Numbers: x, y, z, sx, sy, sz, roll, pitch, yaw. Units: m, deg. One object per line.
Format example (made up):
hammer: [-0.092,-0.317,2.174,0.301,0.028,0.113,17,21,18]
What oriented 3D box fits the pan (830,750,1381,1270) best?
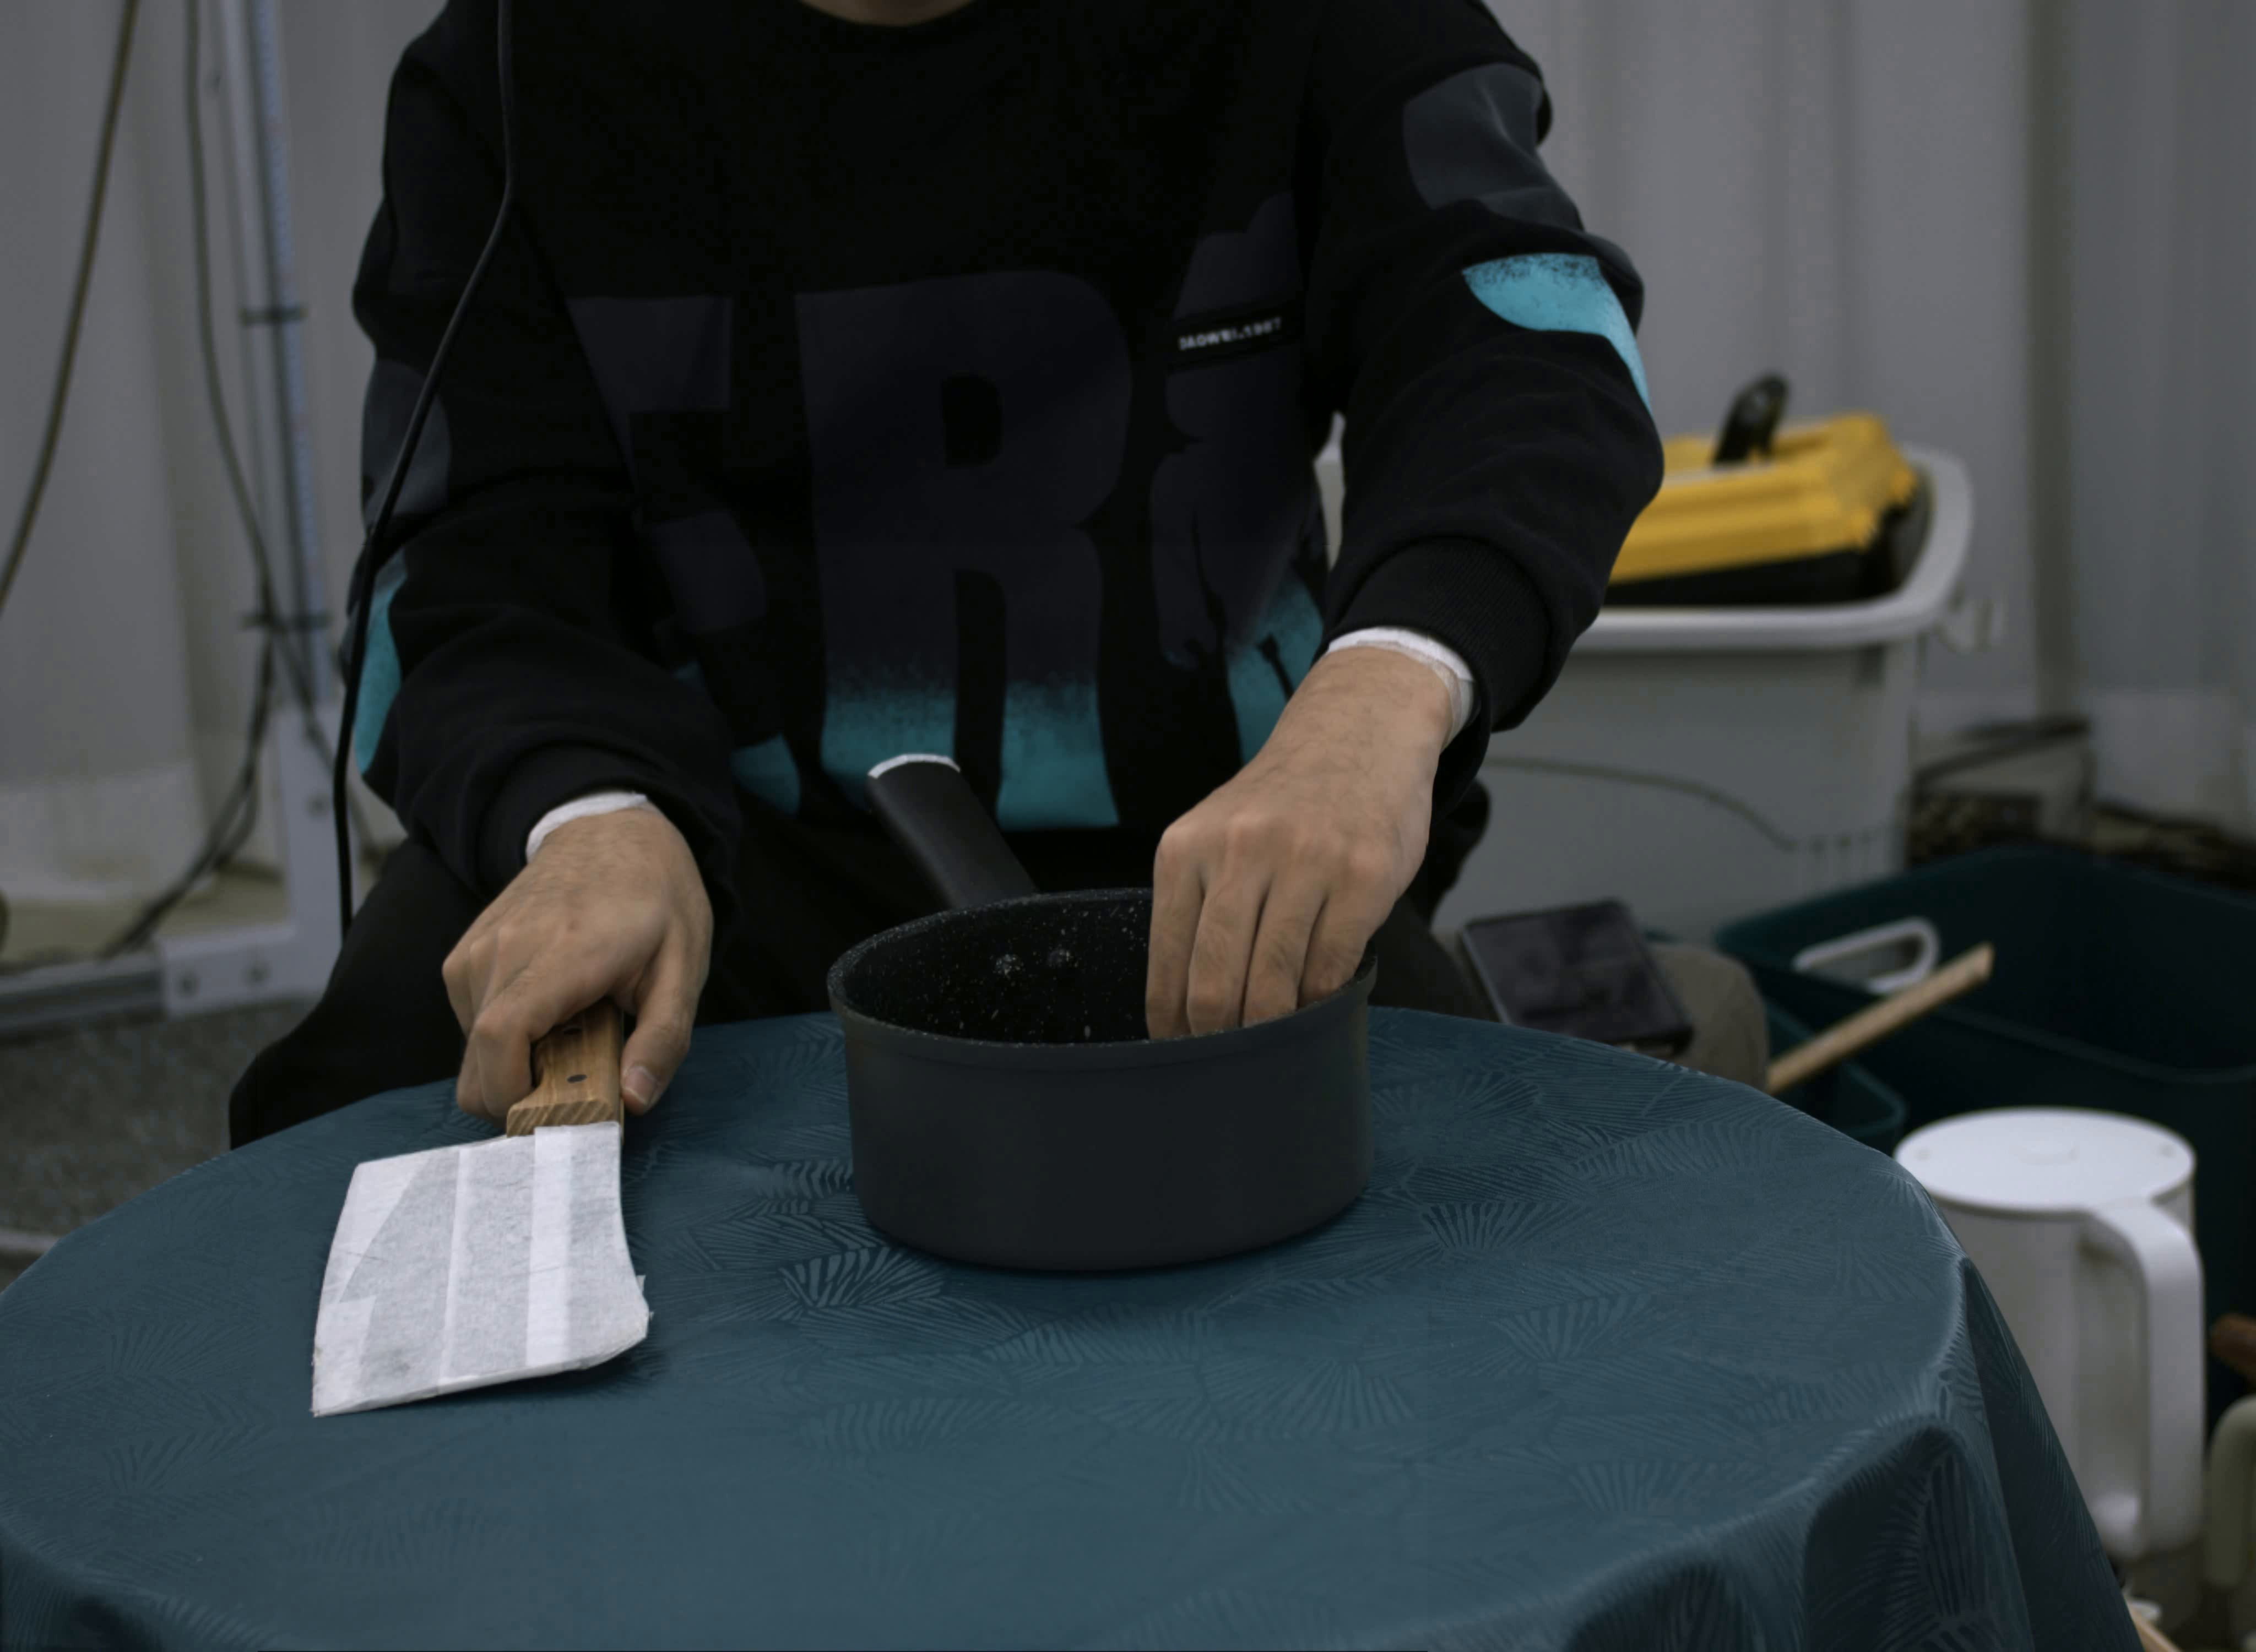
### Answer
pan: [-0.026,0.056,1.777,0.171,0.086,0.331,-4,16,-13]

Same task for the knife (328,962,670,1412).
knife: [-0.191,0.109,1.707,0.113,0.021,0.318,-8,20,2]
